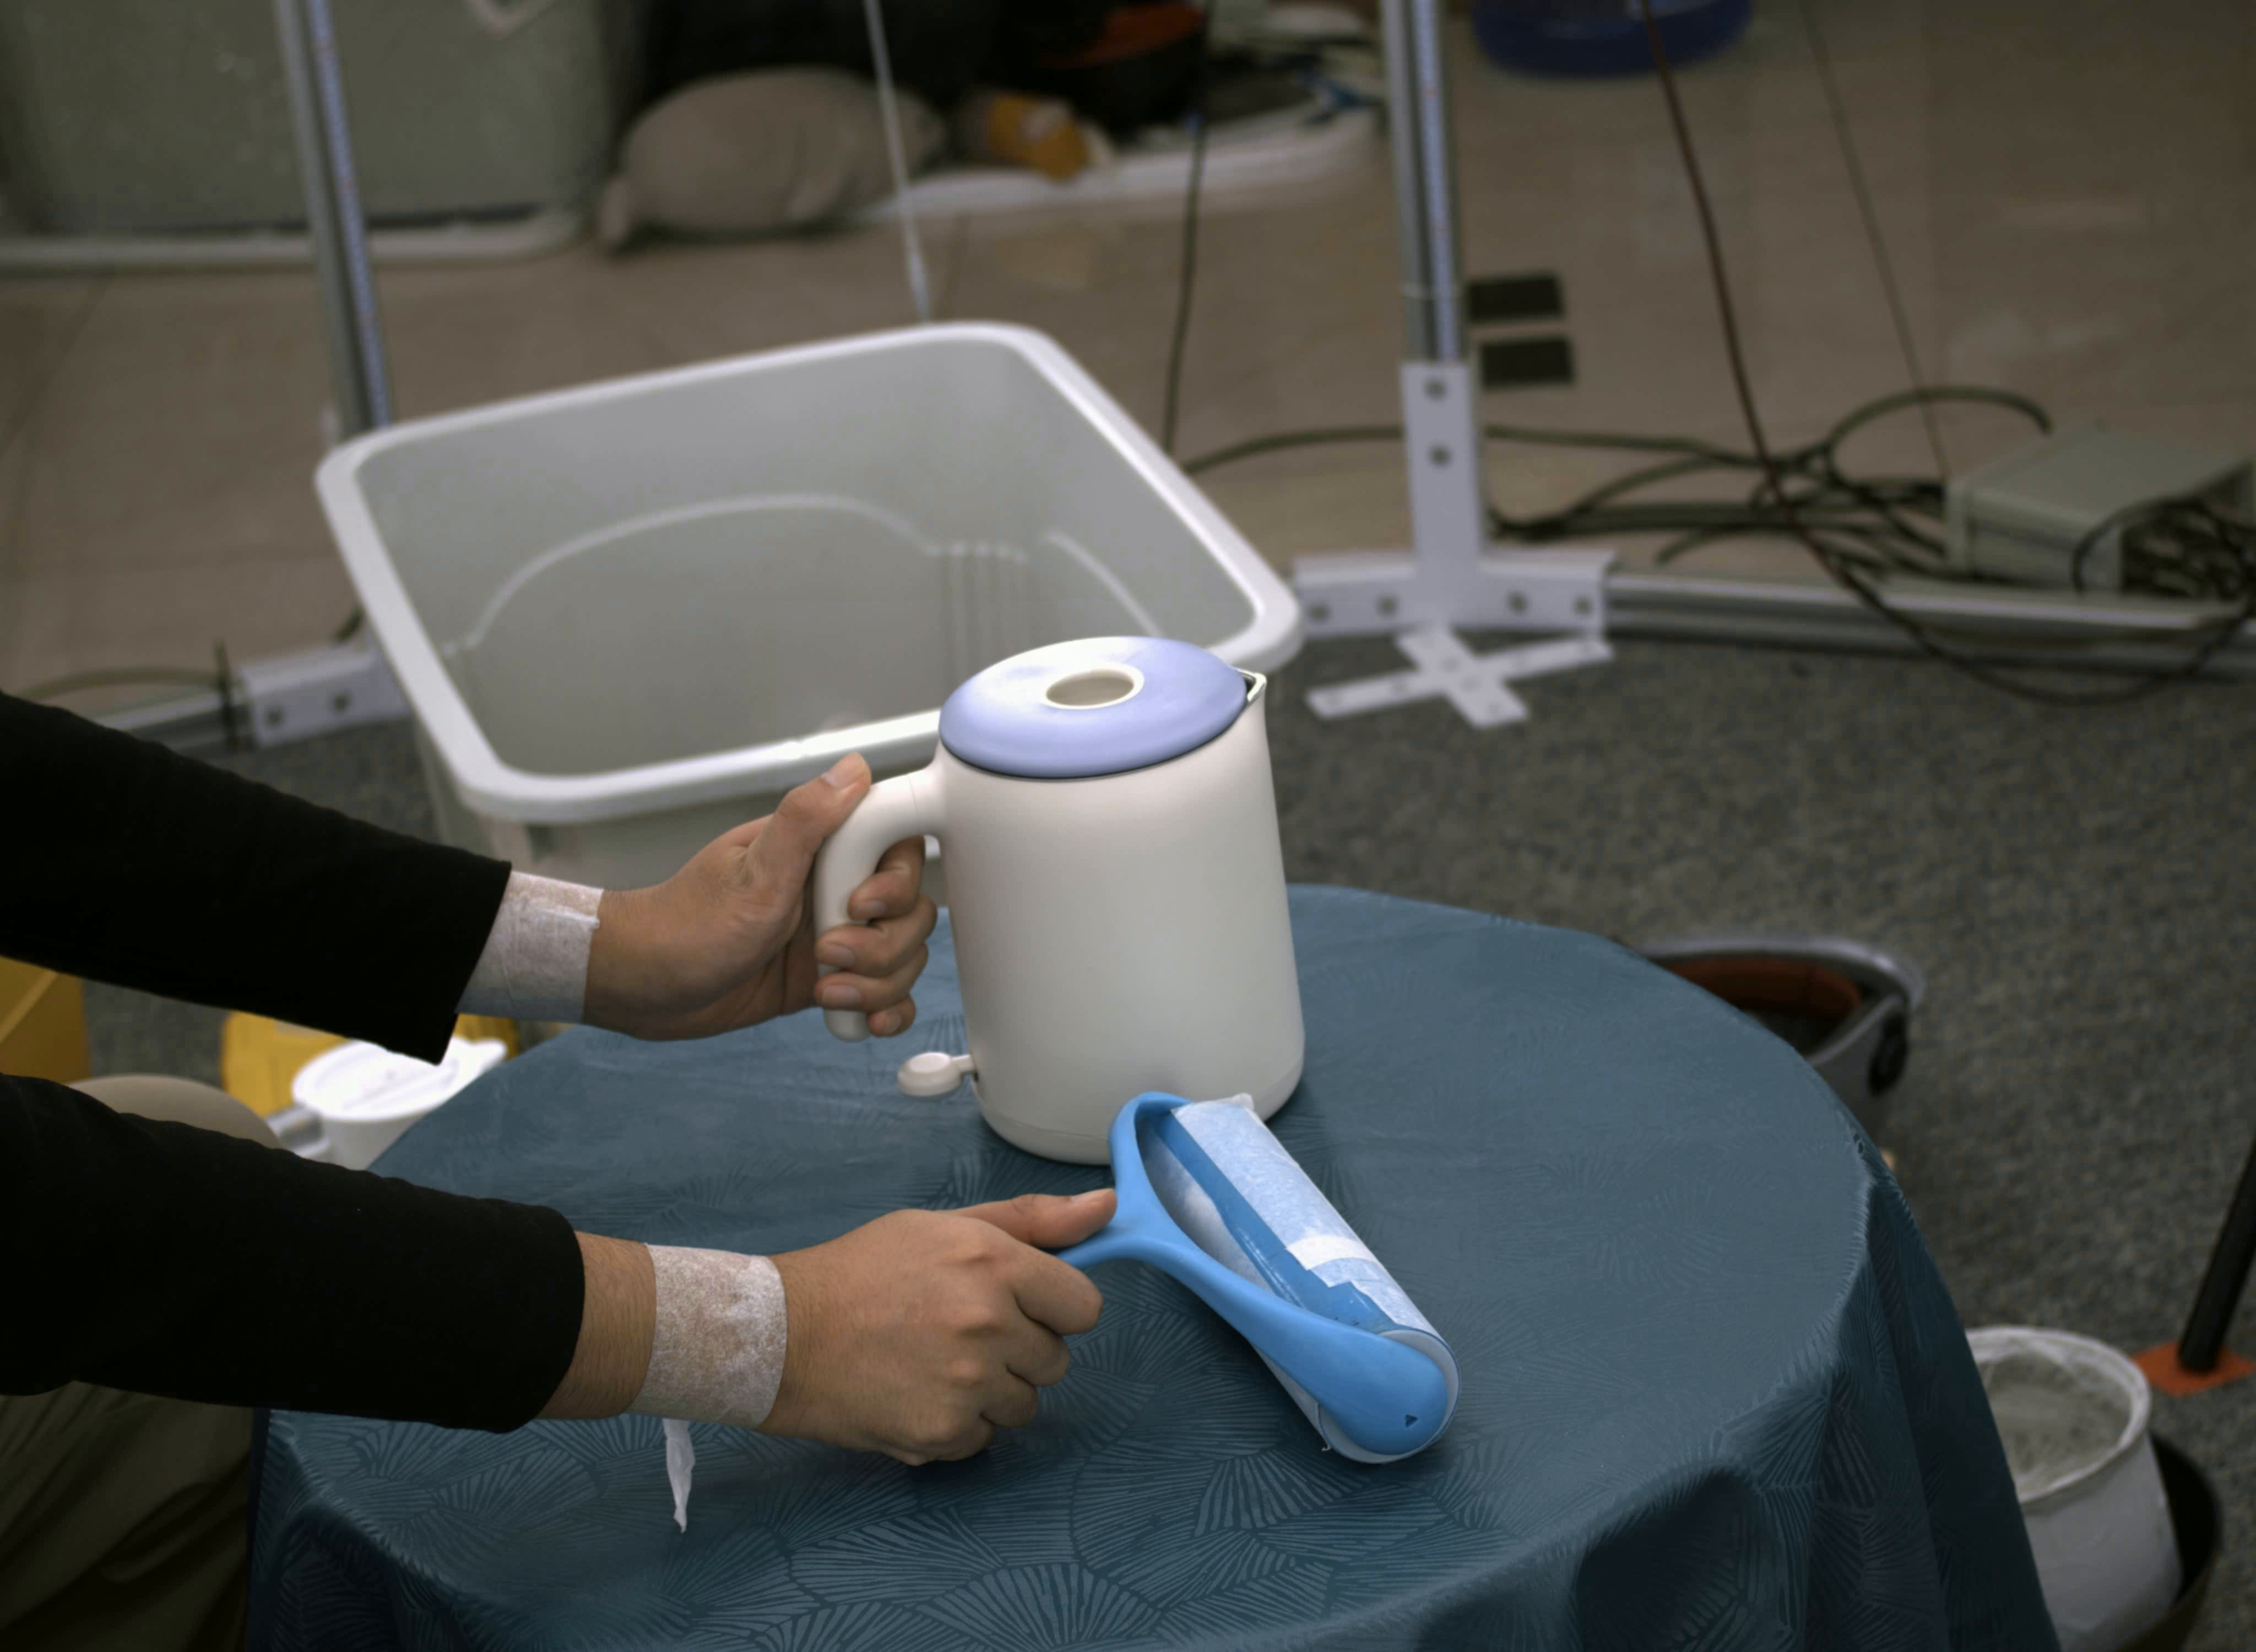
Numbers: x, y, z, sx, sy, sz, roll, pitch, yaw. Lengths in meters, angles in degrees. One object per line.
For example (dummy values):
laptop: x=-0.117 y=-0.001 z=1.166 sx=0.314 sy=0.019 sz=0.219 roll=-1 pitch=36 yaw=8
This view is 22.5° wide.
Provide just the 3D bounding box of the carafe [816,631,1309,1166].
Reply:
carafe: x=-0.027 y=0.033 z=2.174 sx=0.190 sy=0.185 sz=0.130 roll=-14 pitch=26 yaw=-9

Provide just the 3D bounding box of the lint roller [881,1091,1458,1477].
lint roller: x=0.002 y=0.165 z=2.005 sx=0.180 sy=0.069 sz=0.226 roll=-4 pitch=26 yaw=-21
